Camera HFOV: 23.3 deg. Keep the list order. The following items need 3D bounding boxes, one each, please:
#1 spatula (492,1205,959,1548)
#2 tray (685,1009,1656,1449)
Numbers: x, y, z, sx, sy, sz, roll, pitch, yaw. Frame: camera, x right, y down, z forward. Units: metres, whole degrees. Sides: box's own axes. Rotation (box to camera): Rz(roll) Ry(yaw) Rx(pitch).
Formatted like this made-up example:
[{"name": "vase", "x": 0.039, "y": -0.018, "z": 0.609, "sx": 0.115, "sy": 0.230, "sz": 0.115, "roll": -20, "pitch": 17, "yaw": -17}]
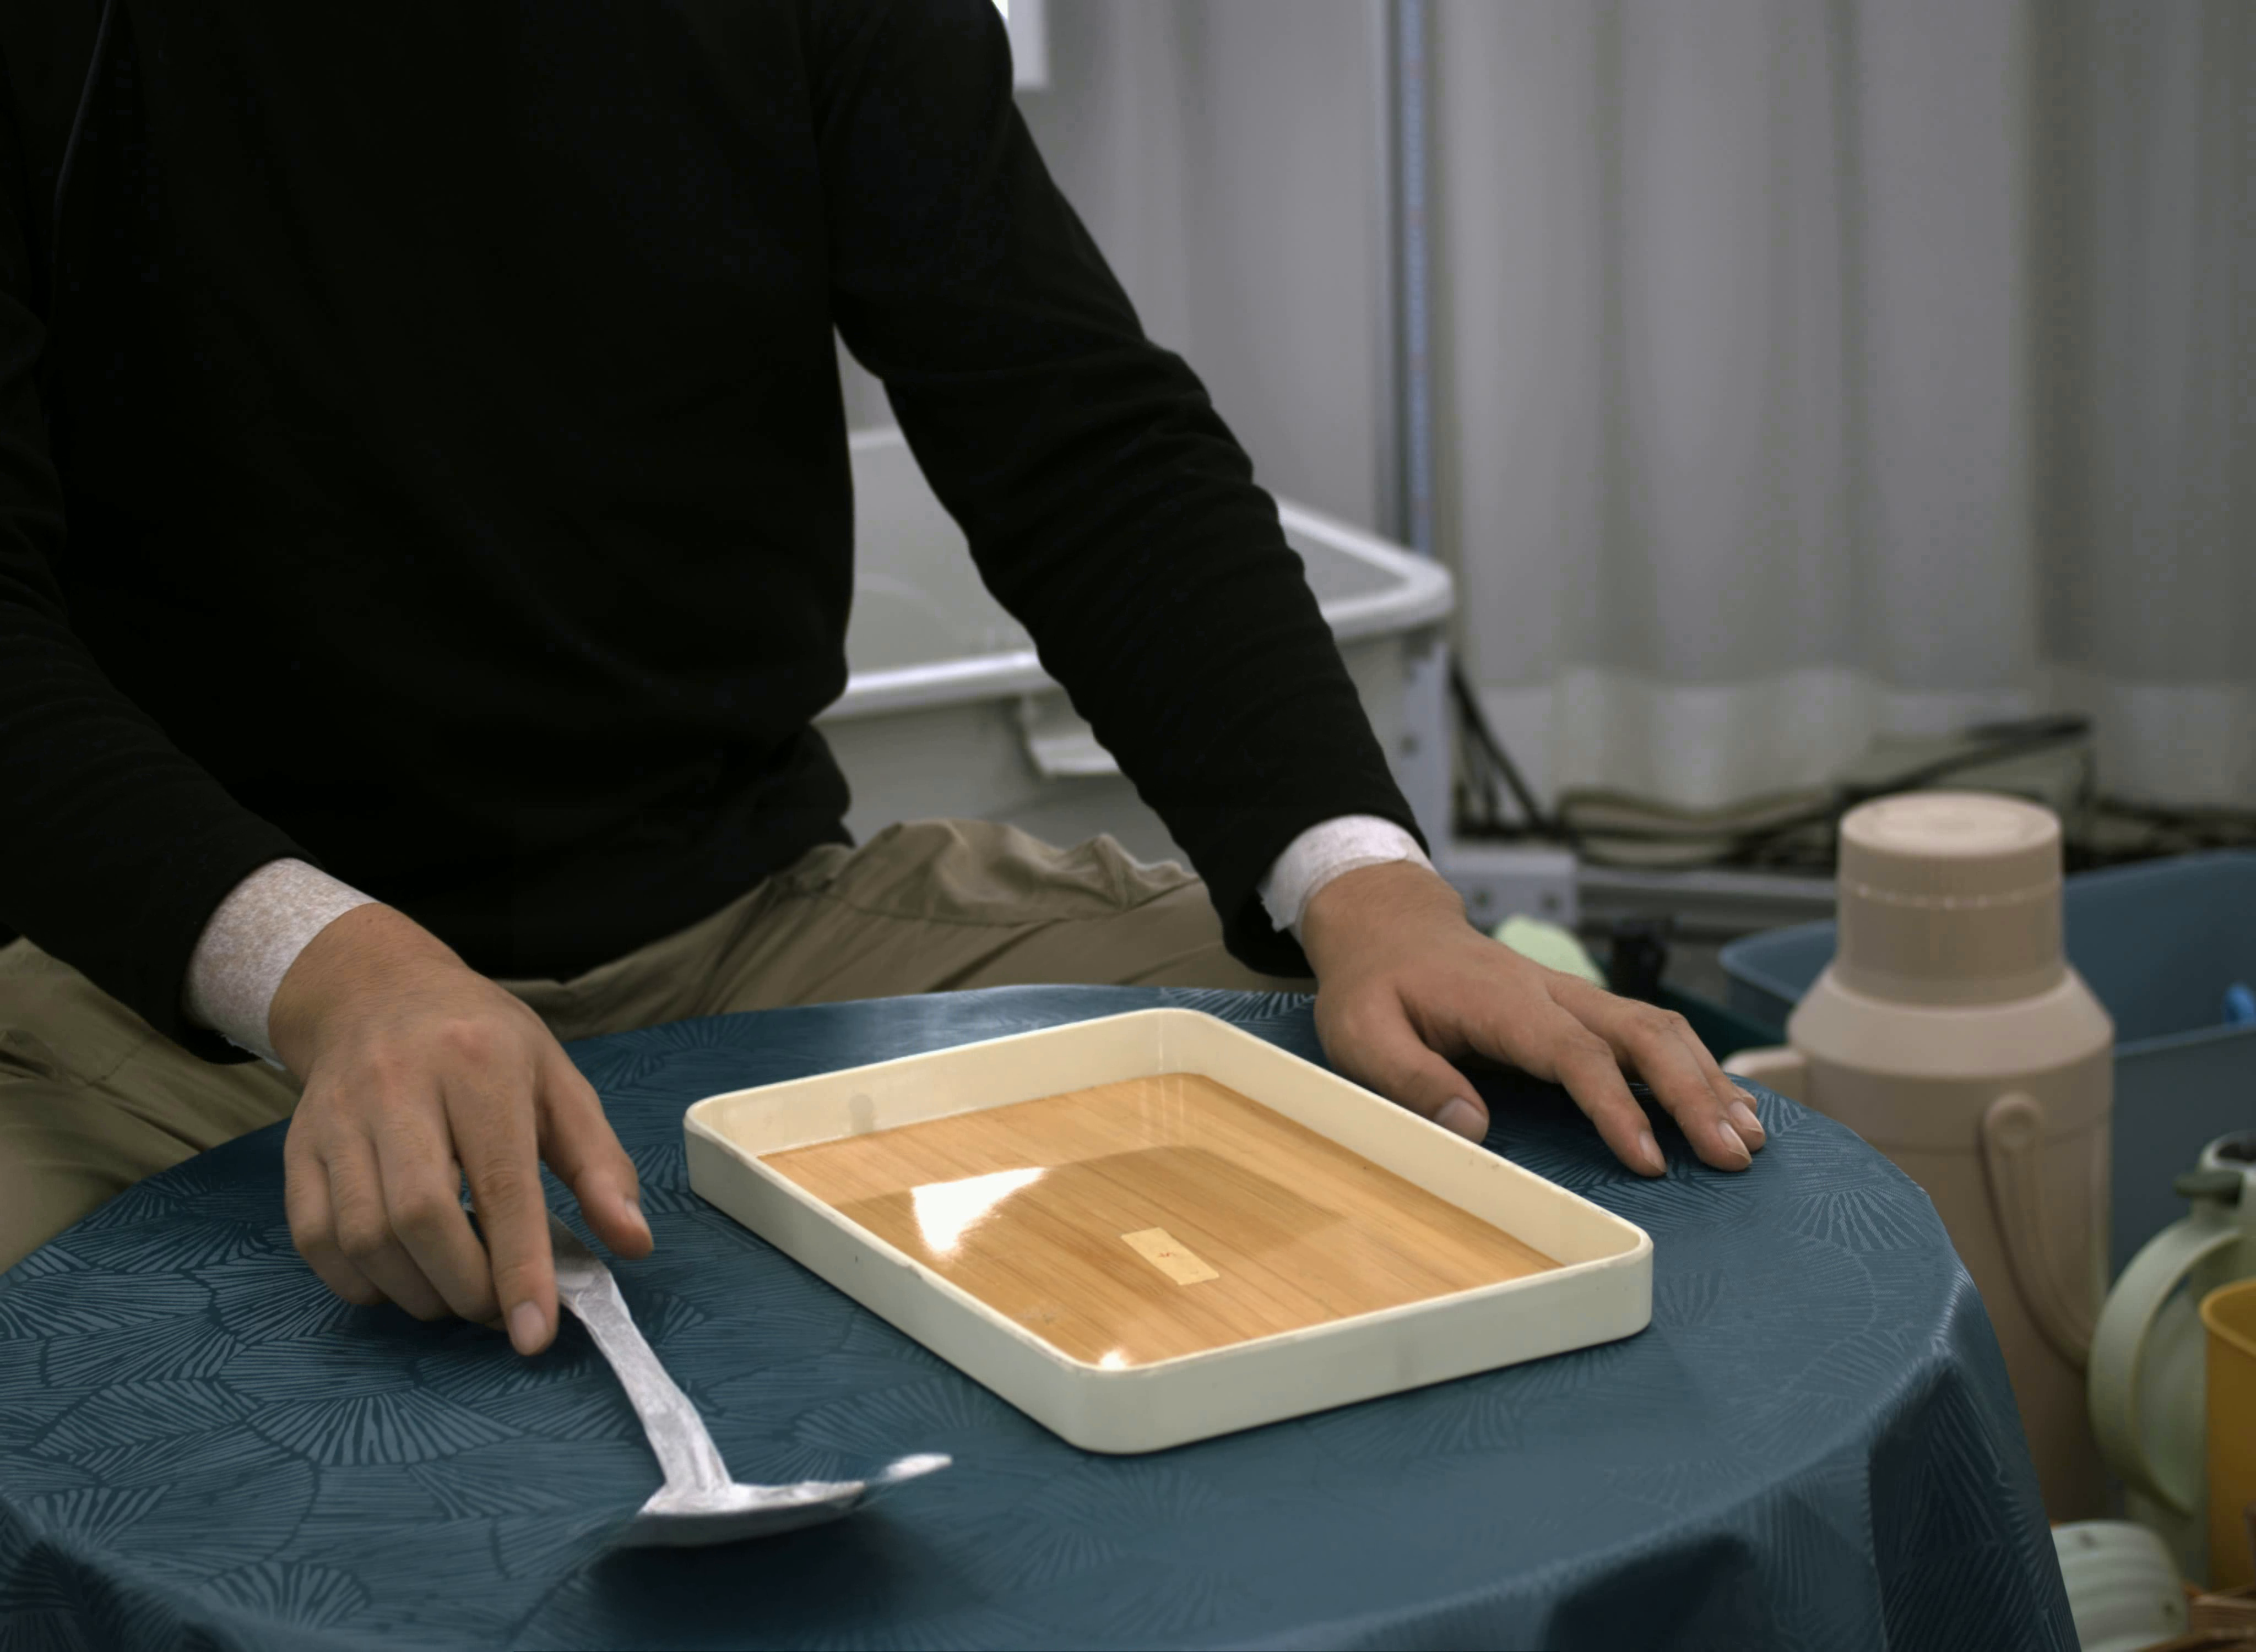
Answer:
[{"name": "spatula", "x": -0.139, "y": 0.146, "z": 1.548, "sx": 0.098, "sy": 0.044, "sz": 0.368, "roll": -8, "pitch": 16, "yaw": -17}, {"name": "tray", "x": 0.006, "y": 0.117, "z": 1.653, "sx": 0.191, "sy": 0.027, "sz": 0.302, "roll": -10, "pitch": 16, "yaw": -25}]
